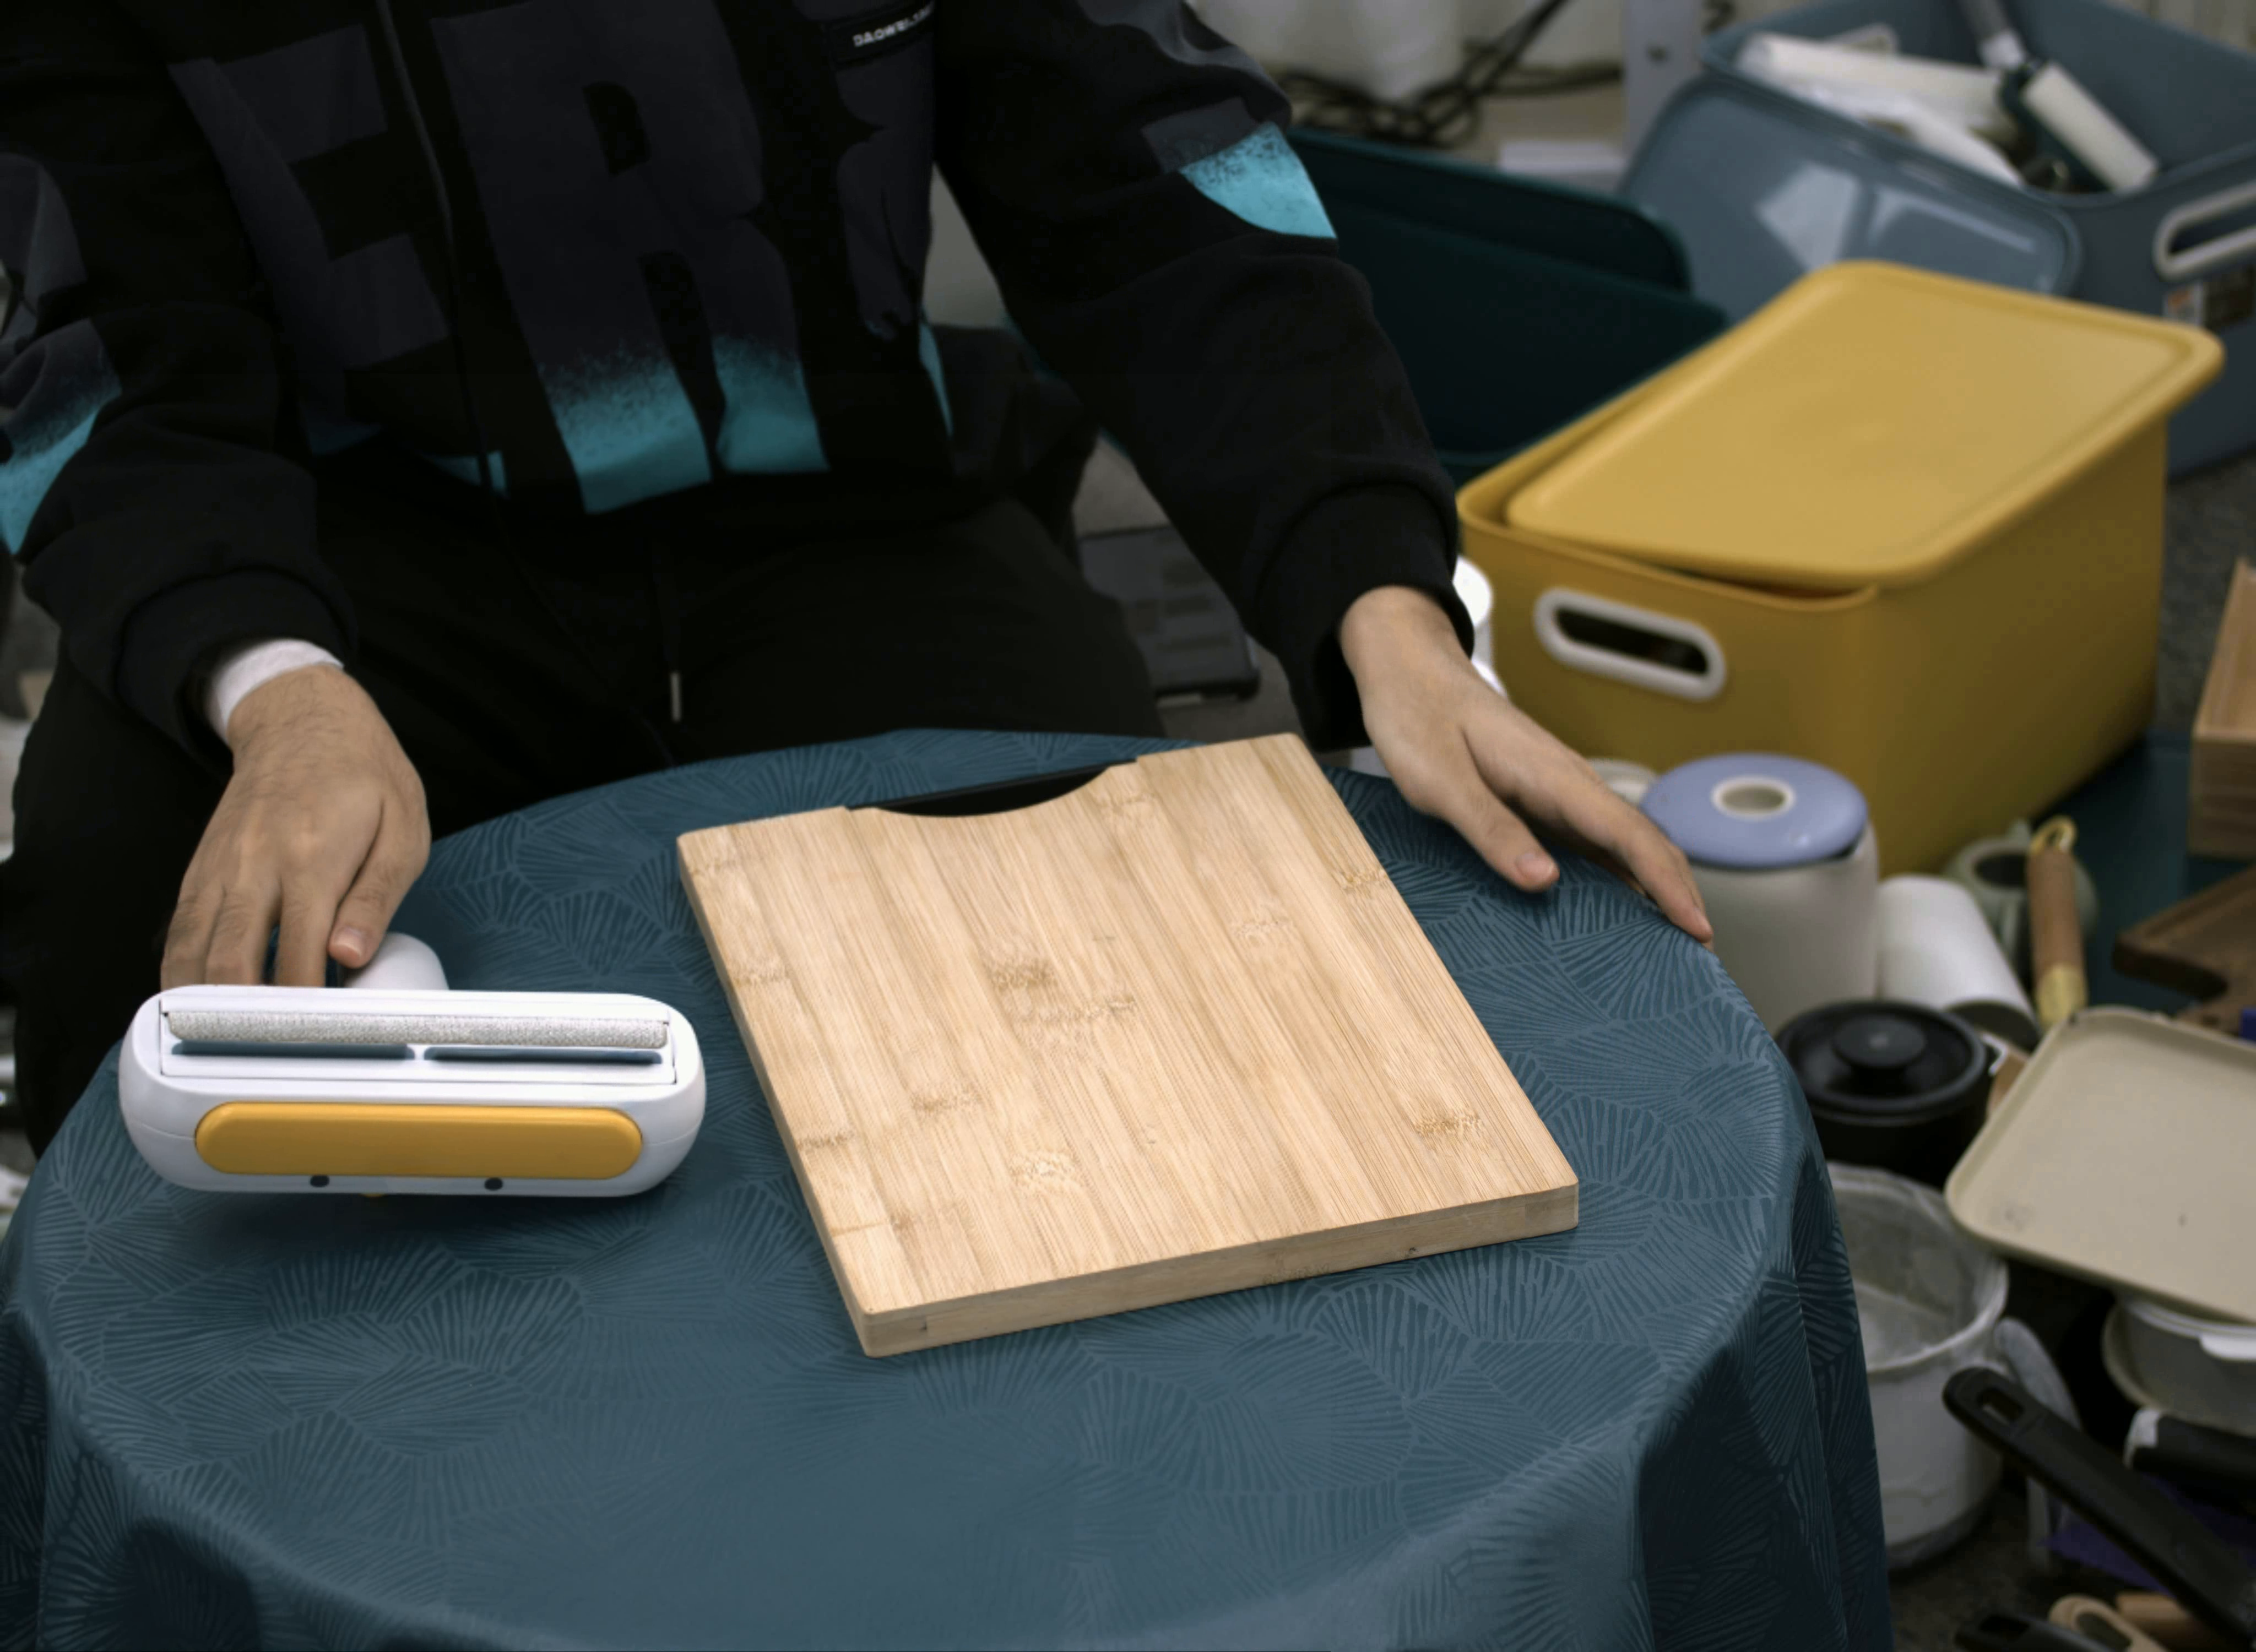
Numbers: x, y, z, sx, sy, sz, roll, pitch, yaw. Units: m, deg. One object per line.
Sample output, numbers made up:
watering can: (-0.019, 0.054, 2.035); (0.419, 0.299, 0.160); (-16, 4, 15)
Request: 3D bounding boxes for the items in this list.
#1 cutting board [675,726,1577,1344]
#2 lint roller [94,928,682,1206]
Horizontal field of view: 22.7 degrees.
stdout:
cutting board: (-0.011, 0.066, 1.951); (0.251, 0.023, 0.352); (-9, 28, -12)
lint roller: (-0.250, 0.070, 1.913); (0.192, 0.073, 0.195); (-1, 25, -7)
